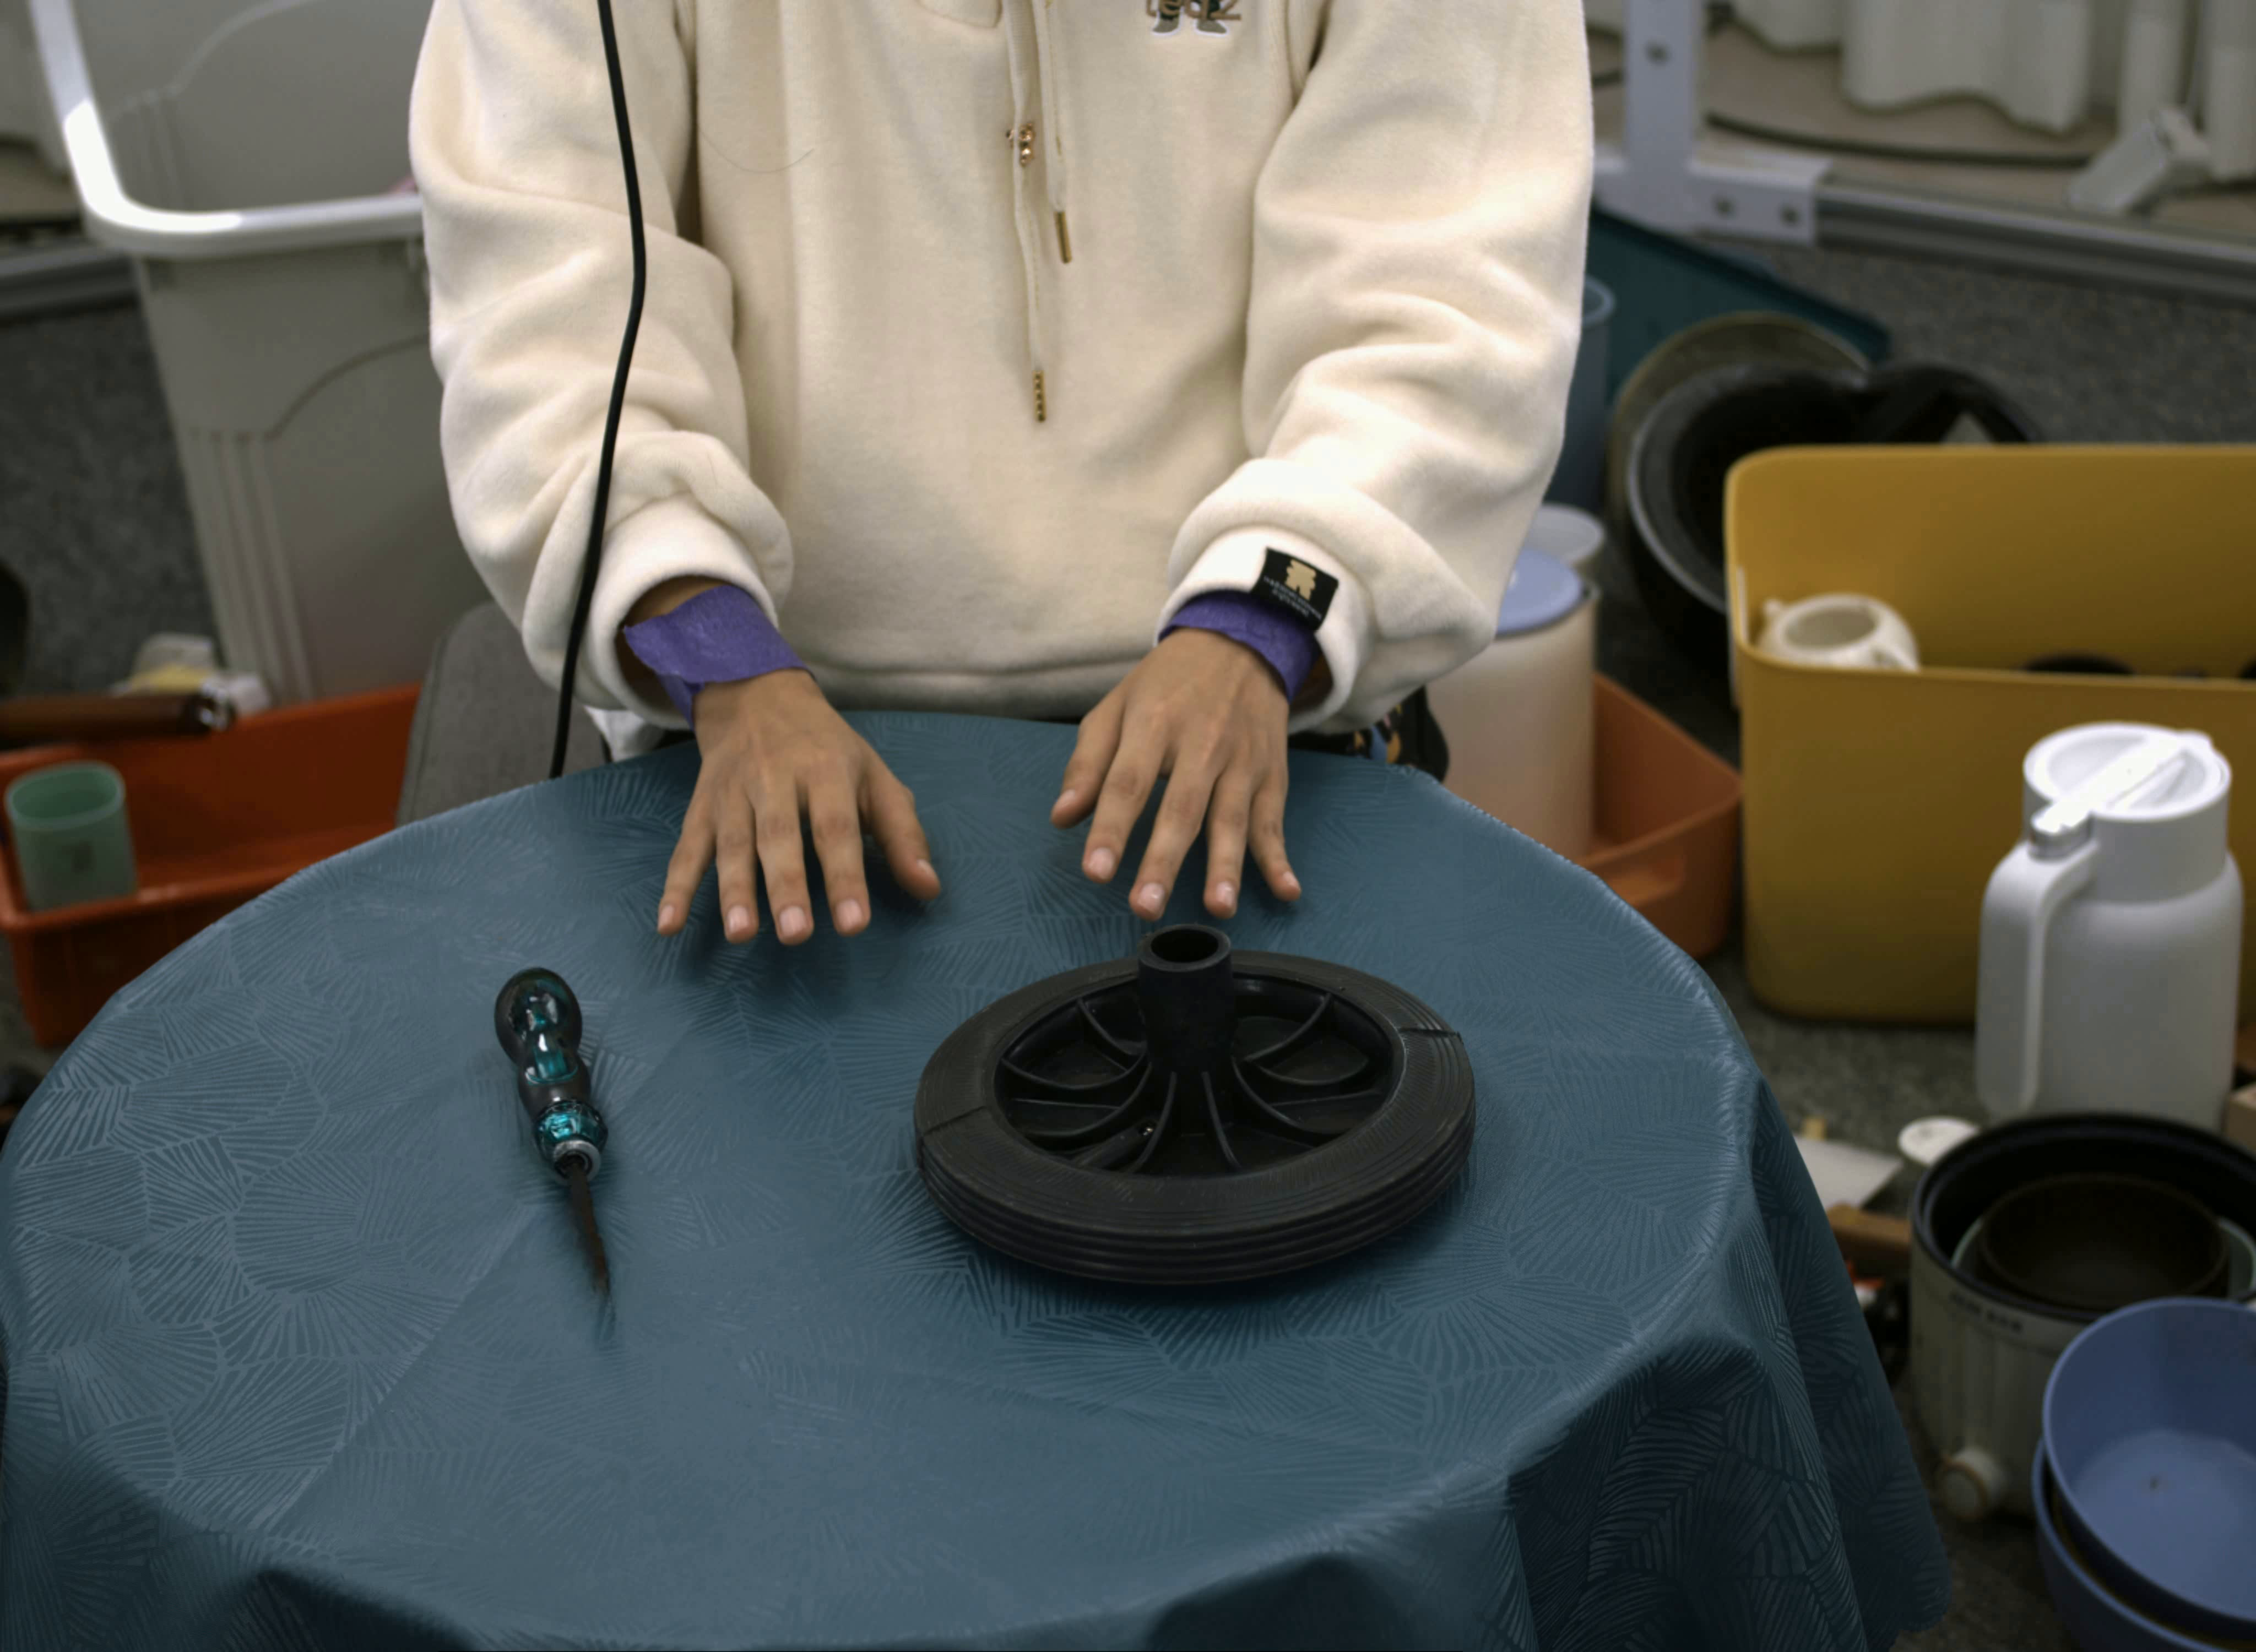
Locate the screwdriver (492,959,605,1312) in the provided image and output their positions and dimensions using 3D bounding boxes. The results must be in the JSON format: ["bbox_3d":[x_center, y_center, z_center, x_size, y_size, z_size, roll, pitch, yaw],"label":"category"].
[{"bbox_3d":[-0.190,0.106,1.888,0.033,0.033,0.192,-7,33,-9],"label":"screwdriver"}]

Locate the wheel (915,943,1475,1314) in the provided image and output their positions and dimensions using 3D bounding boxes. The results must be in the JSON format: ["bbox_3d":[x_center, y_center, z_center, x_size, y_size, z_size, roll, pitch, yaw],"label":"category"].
[{"bbox_3d":[0.020,0.081,1.859,0.186,0.078,0.193,8,33,20],"label":"wheel"}]
